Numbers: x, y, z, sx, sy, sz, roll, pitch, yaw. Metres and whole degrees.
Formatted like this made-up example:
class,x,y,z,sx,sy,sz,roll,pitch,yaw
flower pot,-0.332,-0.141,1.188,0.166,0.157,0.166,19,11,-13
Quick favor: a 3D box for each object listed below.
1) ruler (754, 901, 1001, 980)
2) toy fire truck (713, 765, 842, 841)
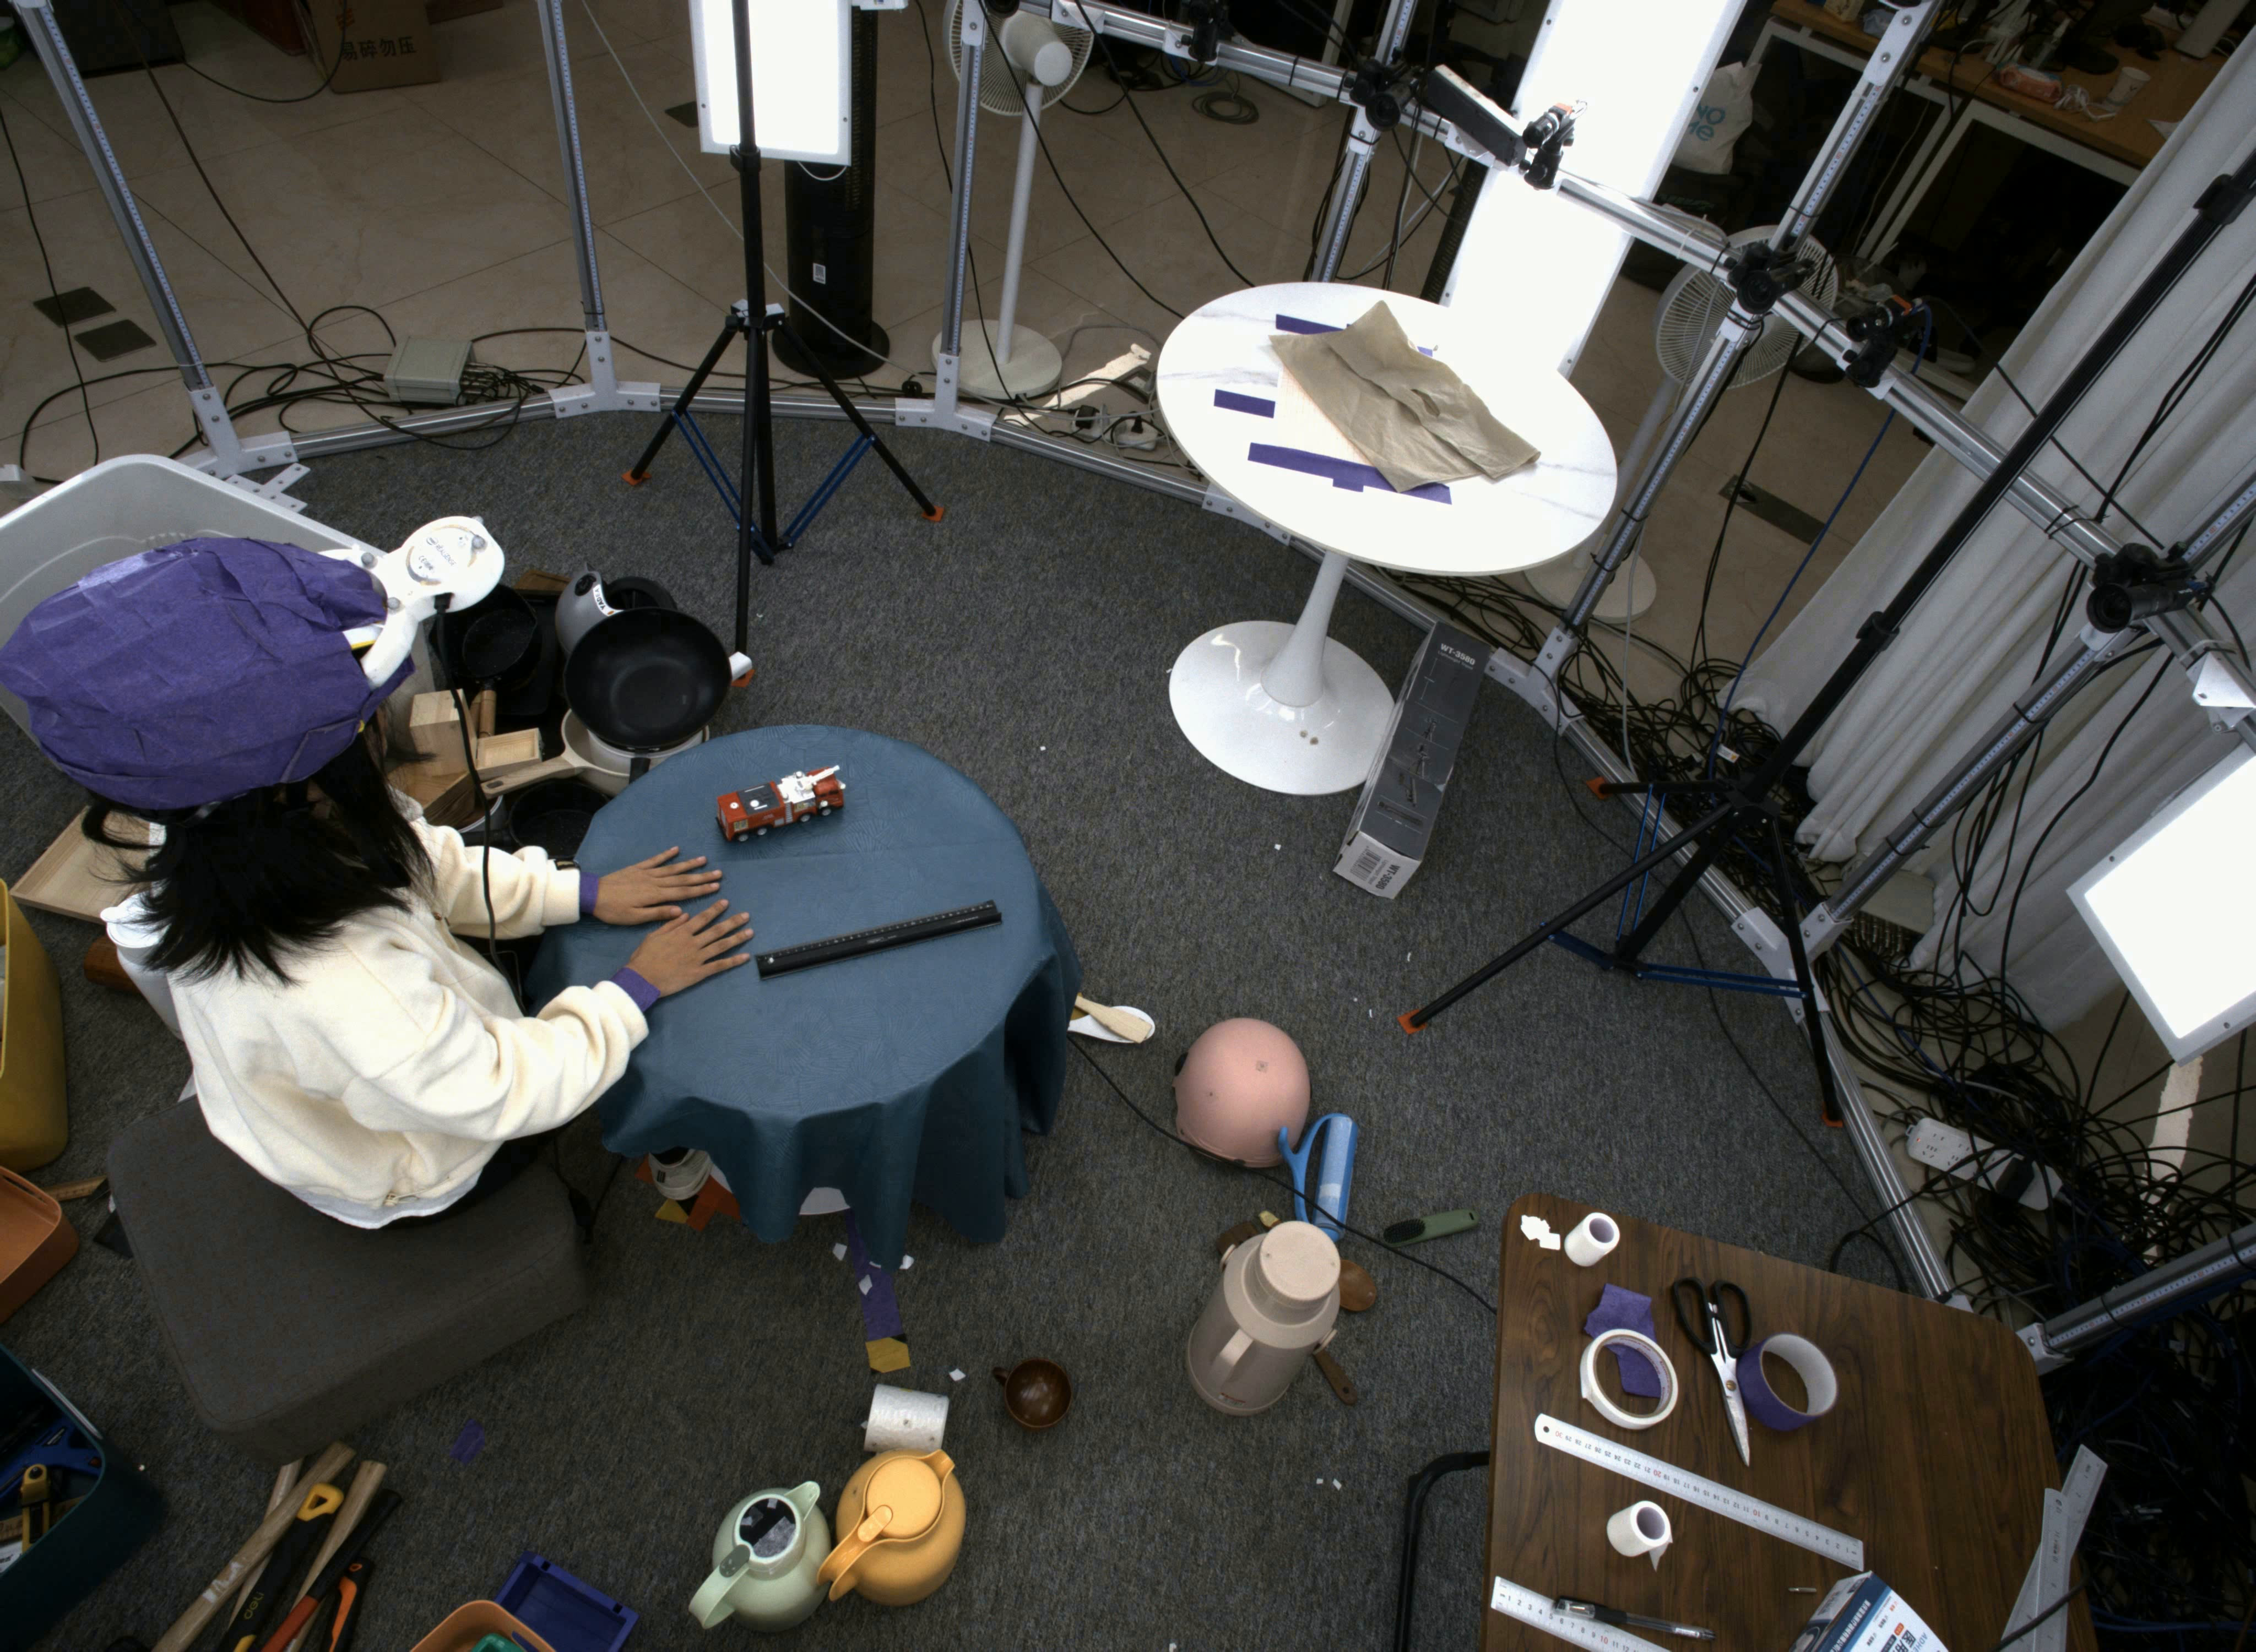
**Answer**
class,x,y,z,sx,sy,sz,roll,pitch,yaw
ruler,-0.311,0.136,1.637,0.314,0.017,0.038,-12,54,-22
toy fire truck,-0.457,-0.033,1.697,0.169,0.072,0.052,-20,60,-25
